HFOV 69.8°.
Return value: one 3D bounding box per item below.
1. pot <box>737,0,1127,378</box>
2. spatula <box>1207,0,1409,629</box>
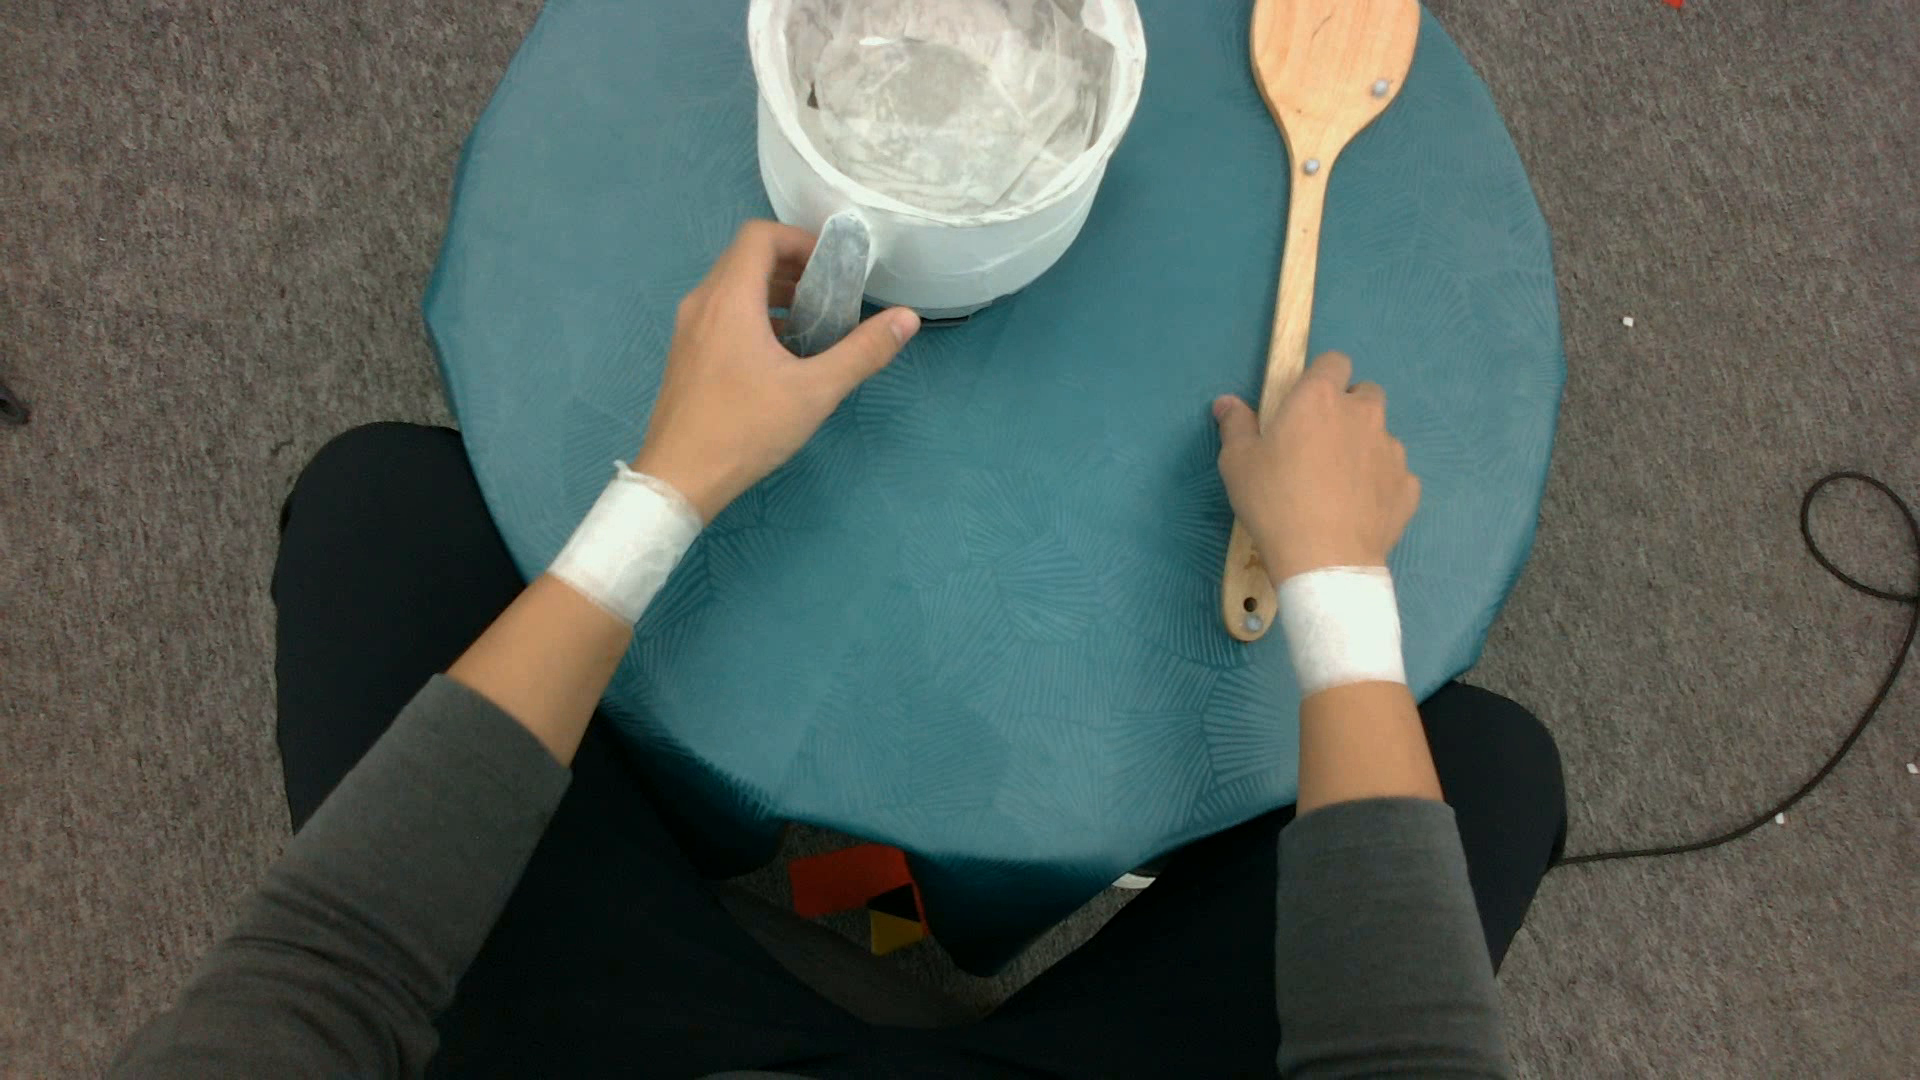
[{"bbox_3d":[-0.030,-0.193,0.672,0.179,0.136,0.234,25,77,-1],"label":"pot"},{"bbox_3d":[0.178,-0.142,0.749,0.096,0.018,0.391,11,77,-3],"label":"spatula"}]
